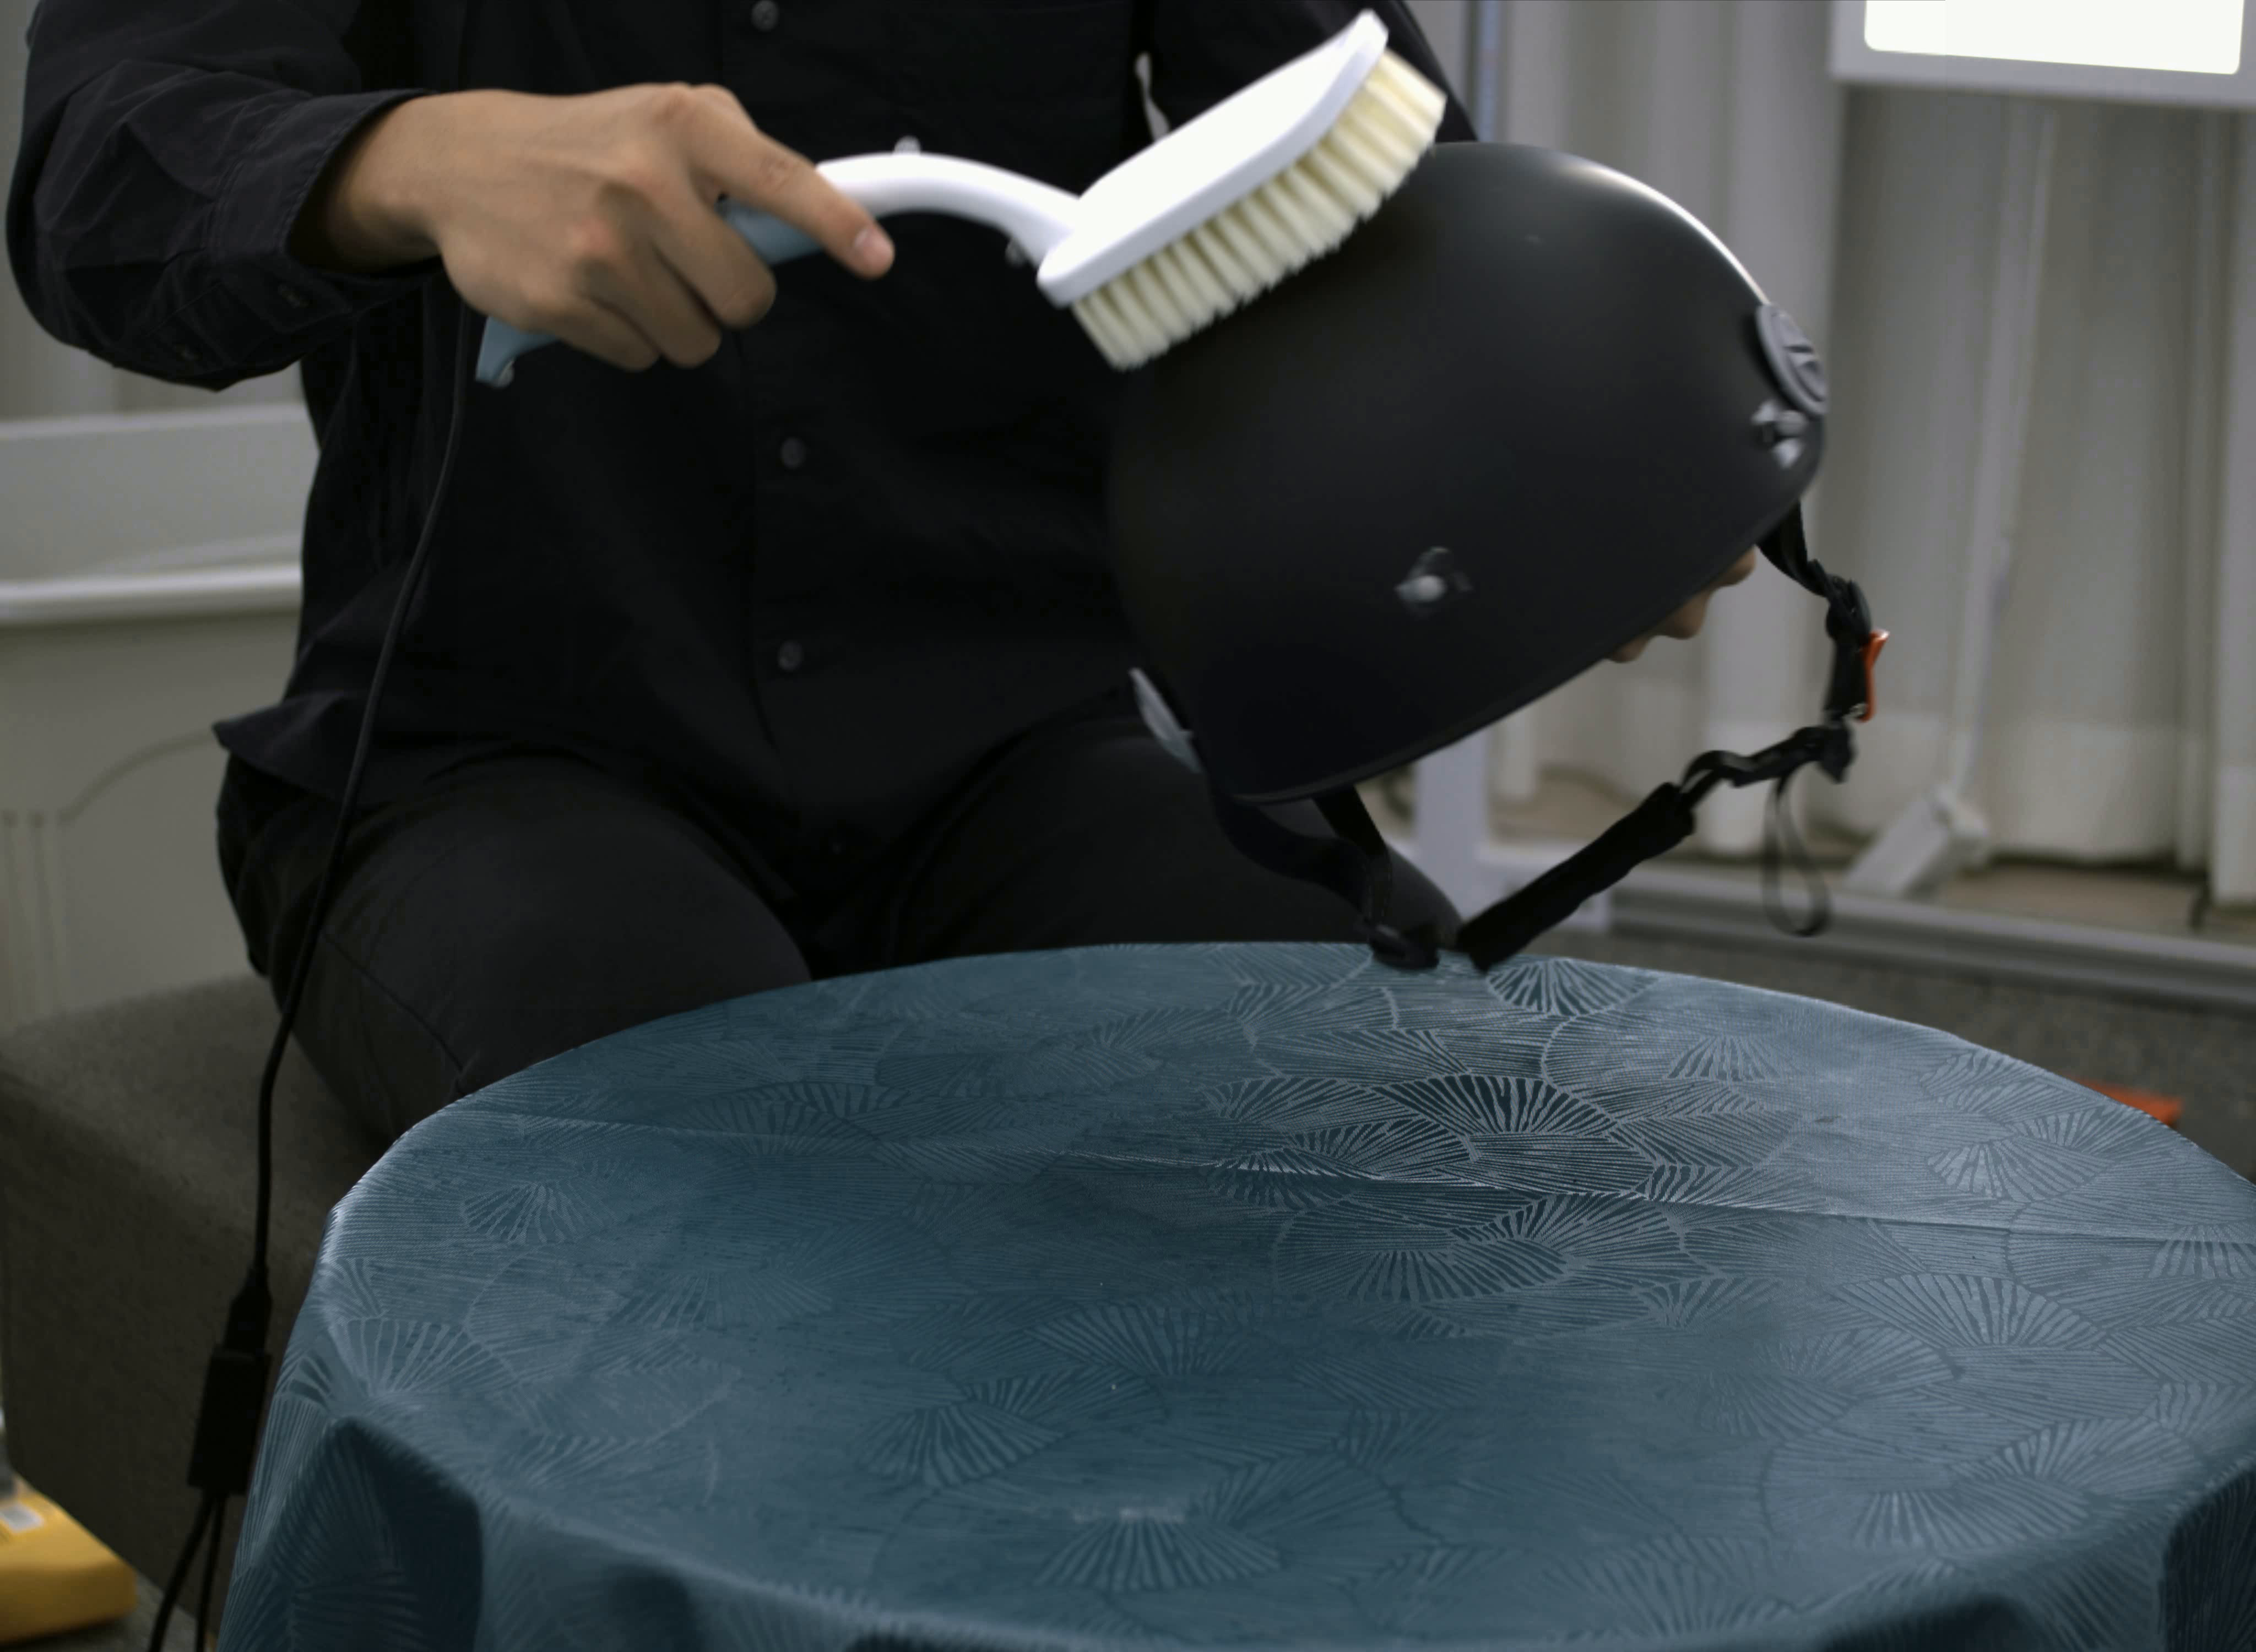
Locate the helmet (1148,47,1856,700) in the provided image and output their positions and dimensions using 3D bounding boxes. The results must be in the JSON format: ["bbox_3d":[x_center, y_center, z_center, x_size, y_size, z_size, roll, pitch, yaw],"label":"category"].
[{"bbox_3d":[0.104,-0.154,1.647,0.229,0.167,0.272,-31,6,12],"label":"helmet"}]

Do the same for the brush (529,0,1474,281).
[{"bbox_3d":[-0.036,-0.200,1.629,0.323,0.084,0.083,-16,-8,24],"label":"brush"}]
